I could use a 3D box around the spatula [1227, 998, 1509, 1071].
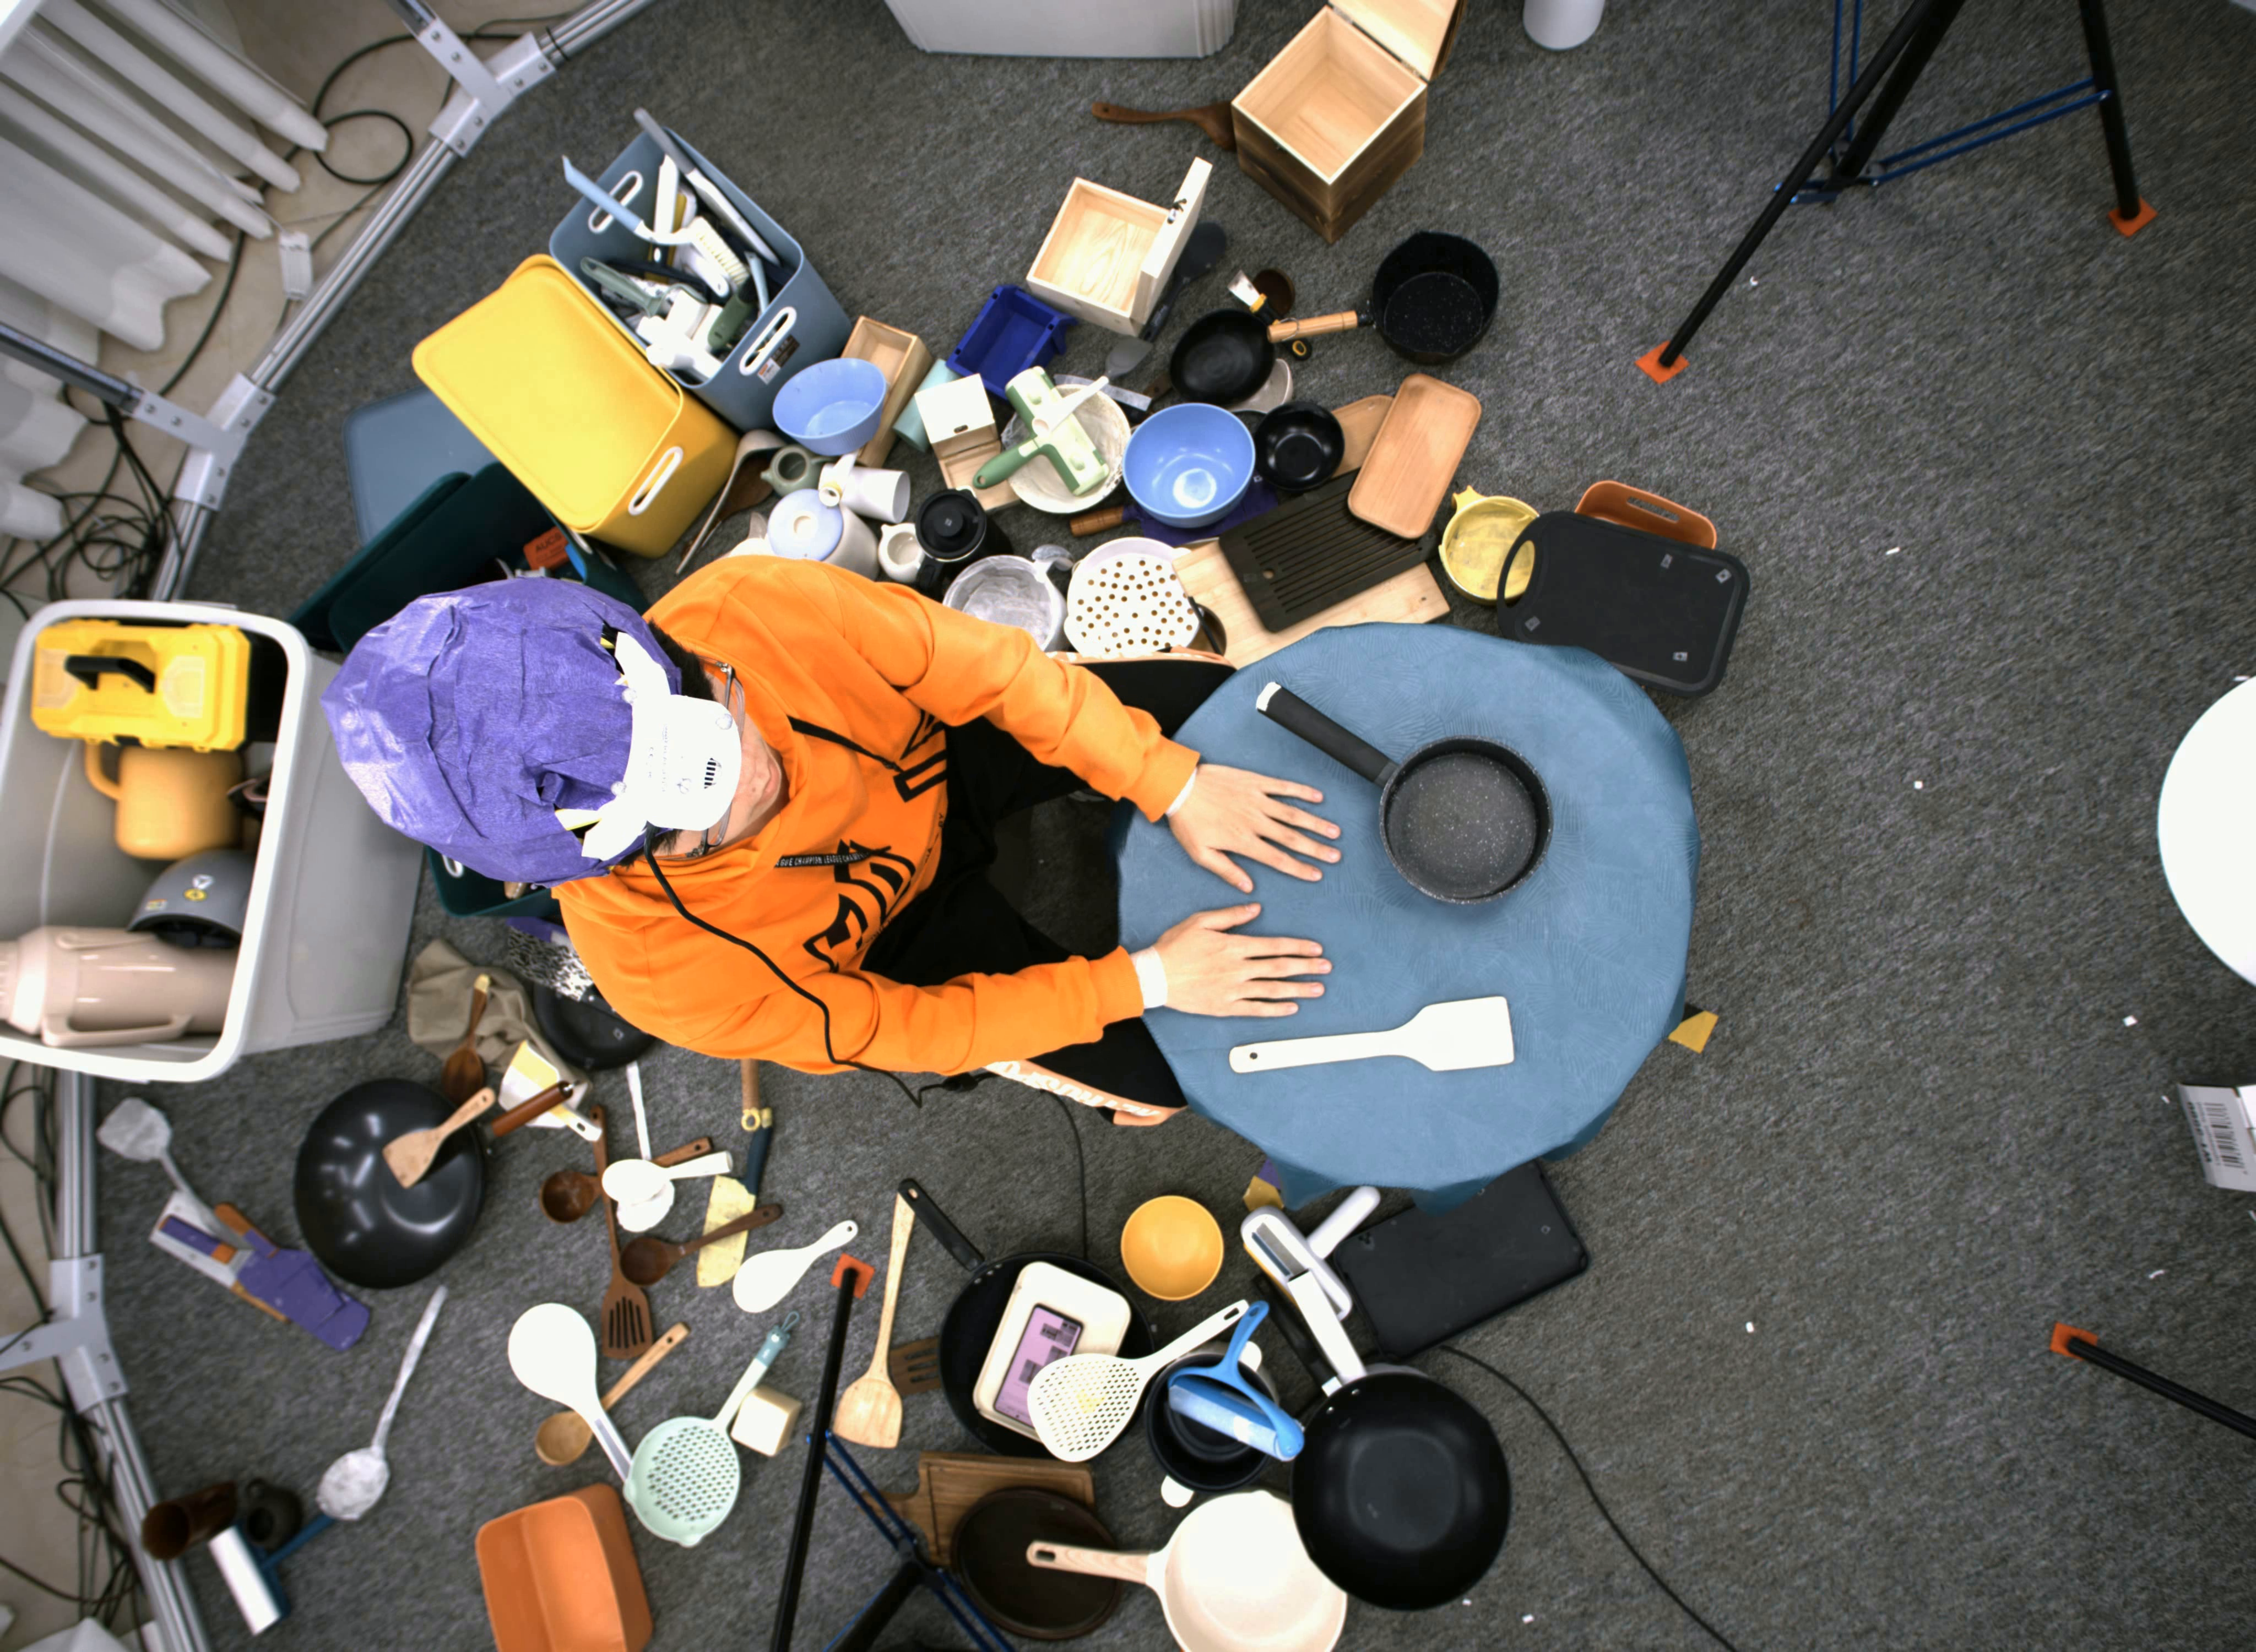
[{"bbox_3d":[0.249,0.228,1.451,0.294,0.010,0.072,-7,89,10],"label":"spatula"}]

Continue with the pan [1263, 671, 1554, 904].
[{"bbox_3d":[0.280,-0.051,1.422,0.328,0.086,0.172,36,92,9],"label":"pan"}]
